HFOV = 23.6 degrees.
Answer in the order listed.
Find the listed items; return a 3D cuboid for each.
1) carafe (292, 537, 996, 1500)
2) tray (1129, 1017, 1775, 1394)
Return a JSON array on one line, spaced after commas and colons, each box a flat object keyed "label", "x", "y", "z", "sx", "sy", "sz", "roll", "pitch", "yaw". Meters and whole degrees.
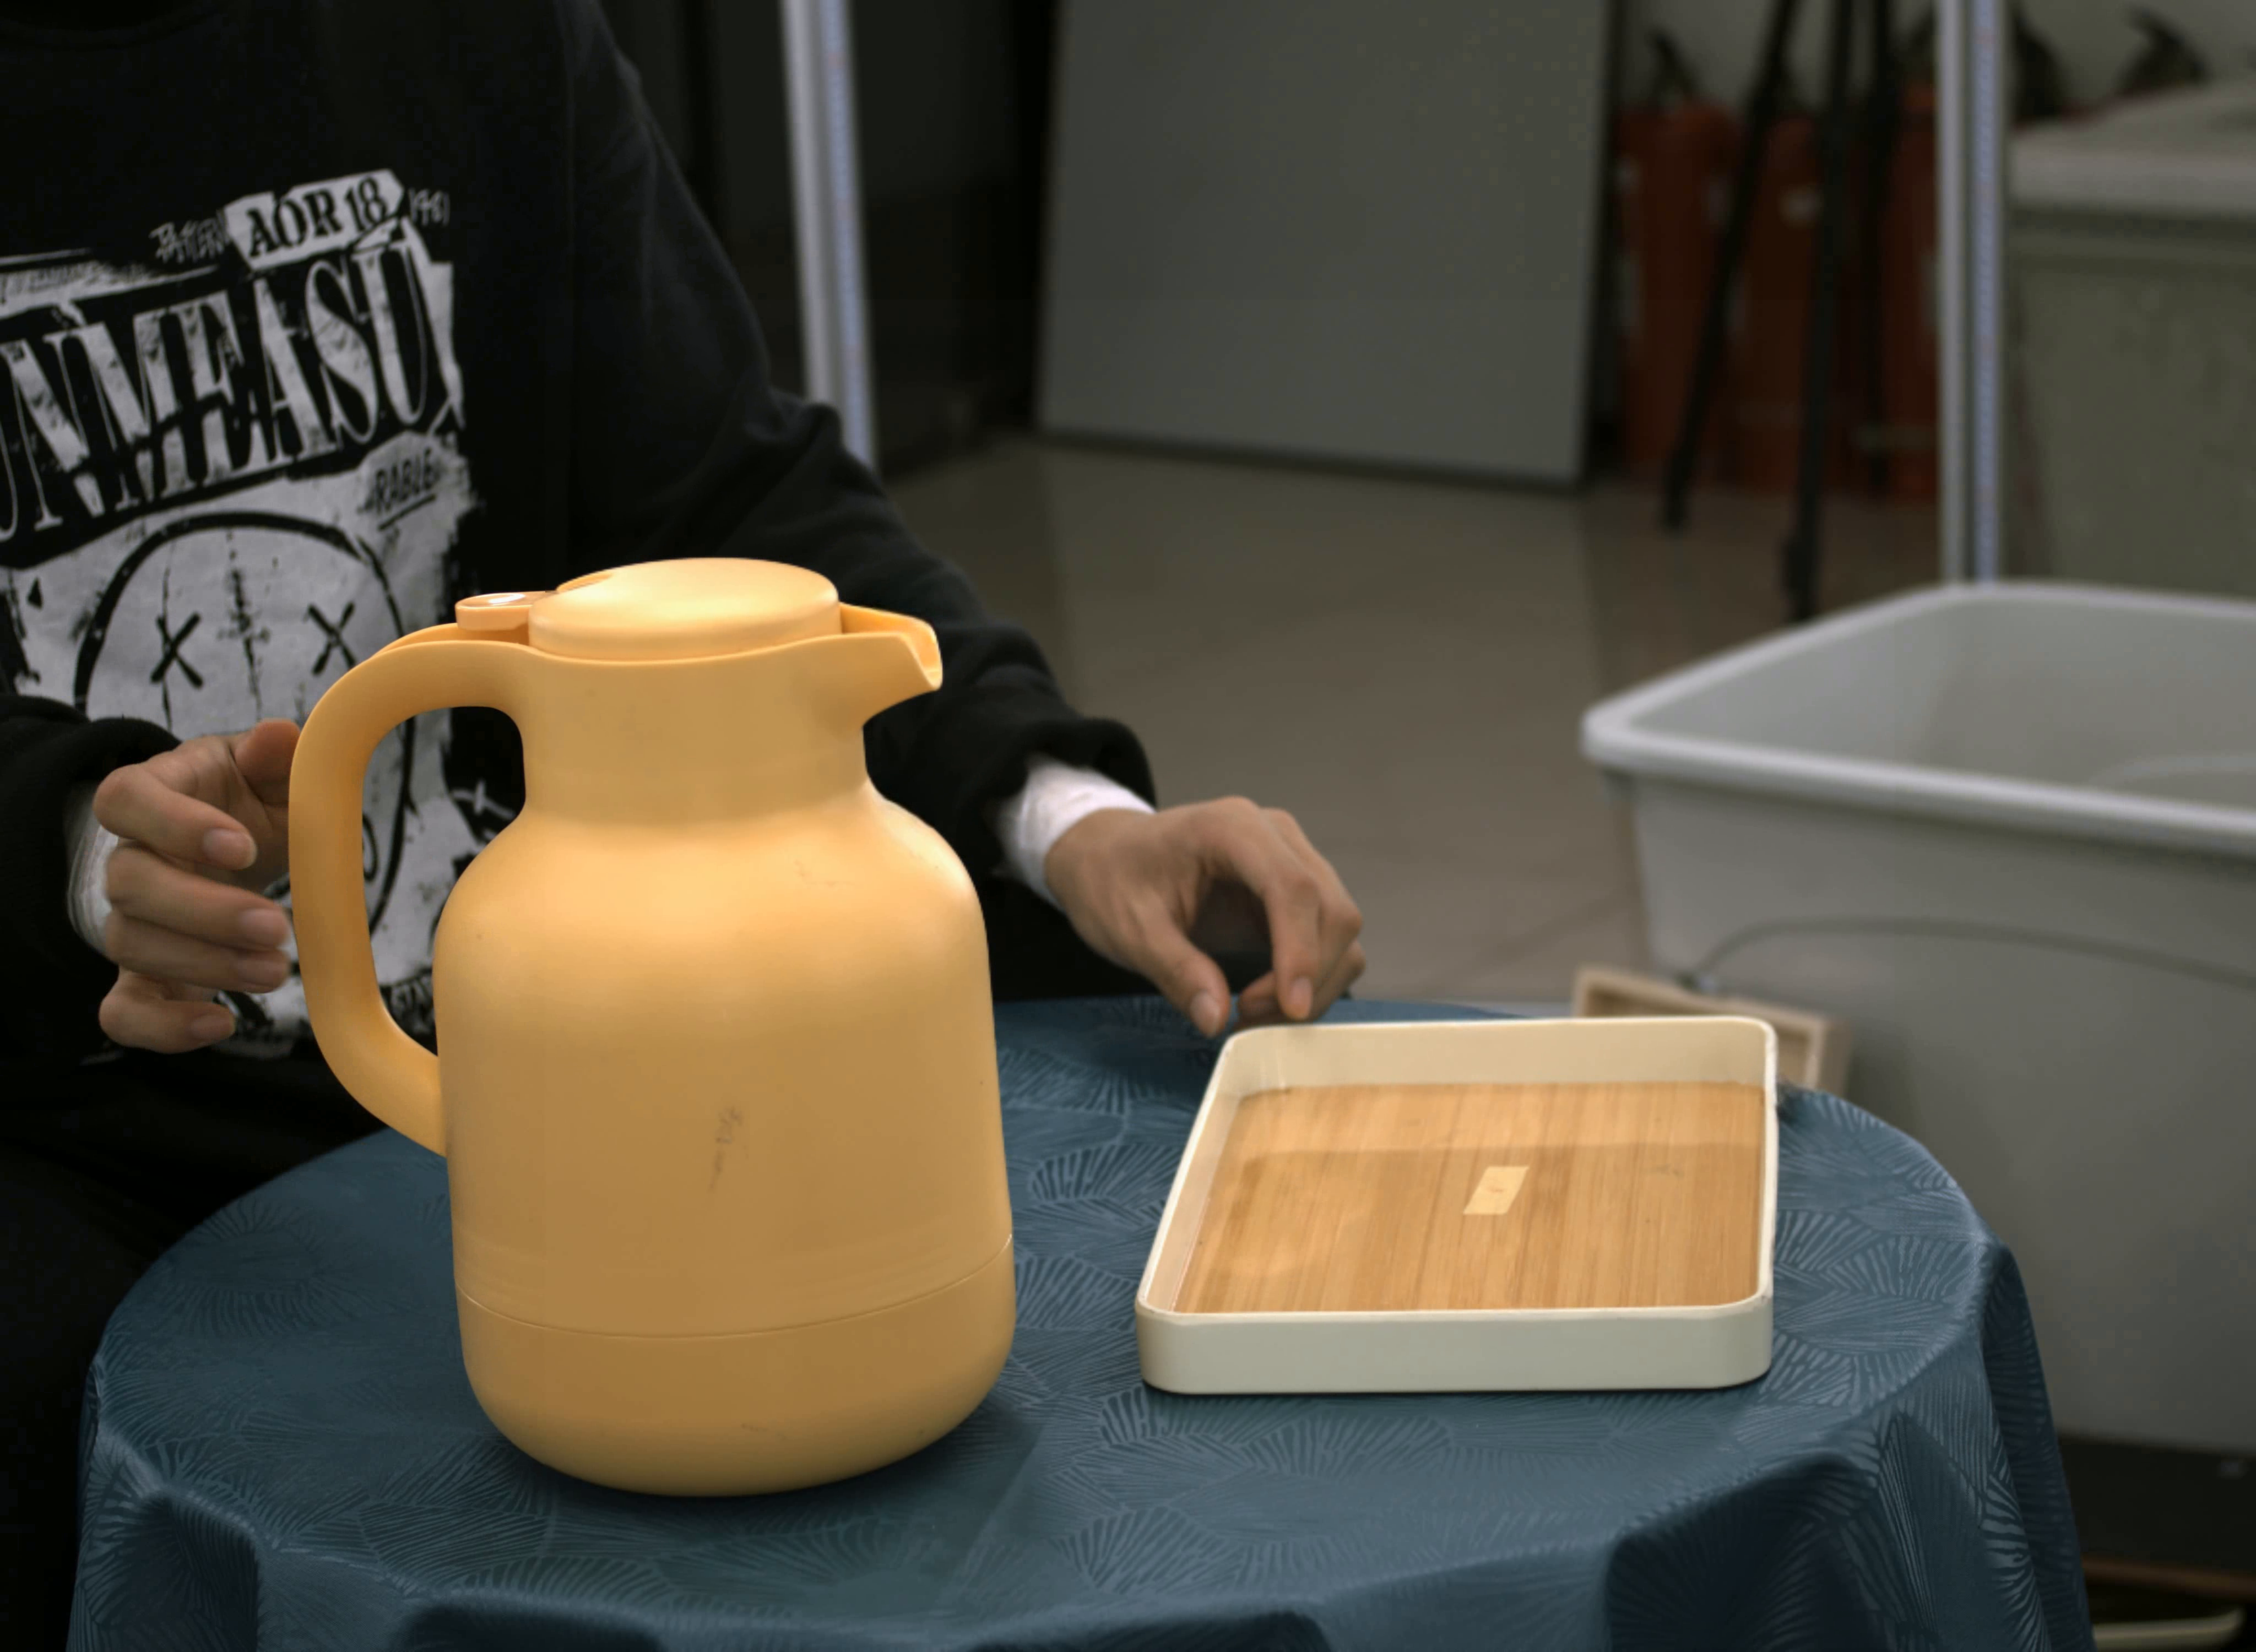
[{"label": "carafe", "x": -0.139, "y": 0.050, "z": 1.555, "sx": 0.201, "sy": 0.263, "sz": 0.162, "roll": 2, "pitch": 12, "yaw": 16}, {"label": "tray", "x": 0.110, "y": 0.116, "z": 1.705, "sx": 0.190, "sy": 0.028, "sz": 0.299, "roll": -2, "pitch": 14, "yaw": 9}]
